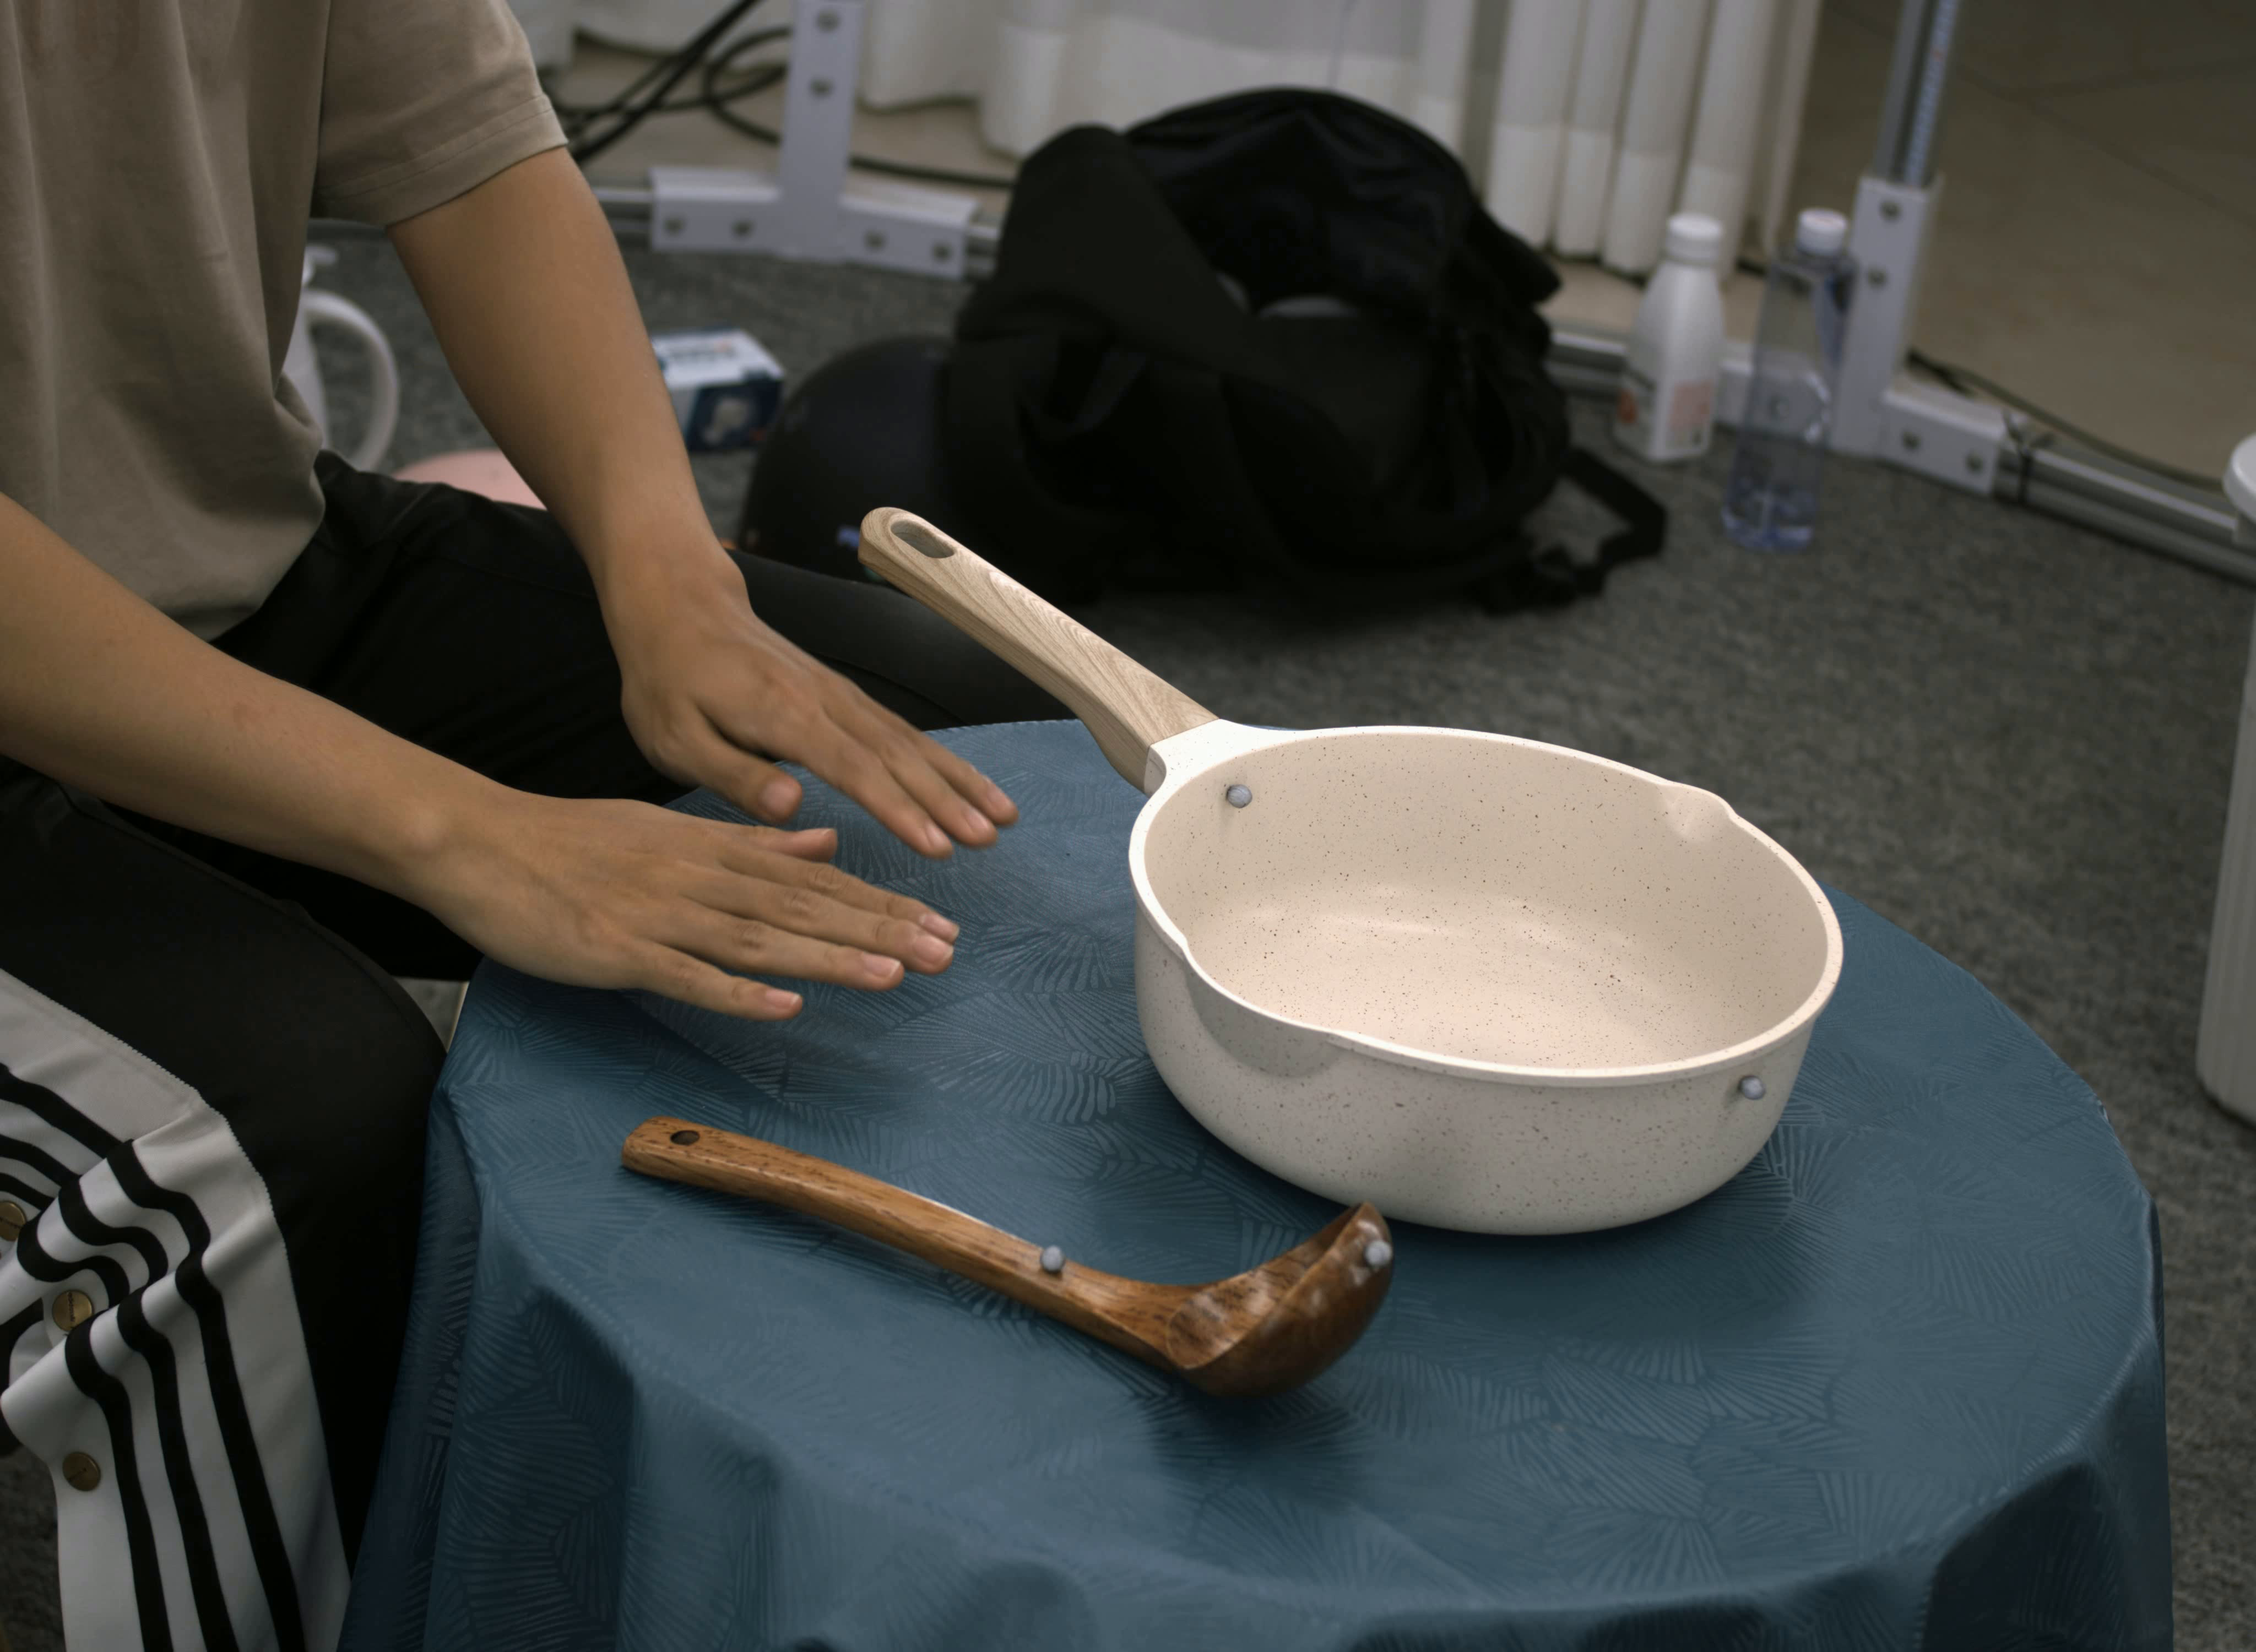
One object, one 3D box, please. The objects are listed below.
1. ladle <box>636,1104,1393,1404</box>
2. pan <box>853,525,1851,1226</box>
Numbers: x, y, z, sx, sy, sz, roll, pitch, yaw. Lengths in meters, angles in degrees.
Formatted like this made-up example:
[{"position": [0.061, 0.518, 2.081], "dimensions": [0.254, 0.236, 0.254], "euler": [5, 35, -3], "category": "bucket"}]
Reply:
[{"position": [-0.042, 0.119, 1.719], "dimensions": [0.275, 0.076, 0.082], "euler": [20, 32, 23], "category": "ladle"}, {"position": [0.057, 0.013, 1.925], "dimensions": [0.438, 0.101, 0.262], "euler": [28, 35, 35], "category": "pan"}]
